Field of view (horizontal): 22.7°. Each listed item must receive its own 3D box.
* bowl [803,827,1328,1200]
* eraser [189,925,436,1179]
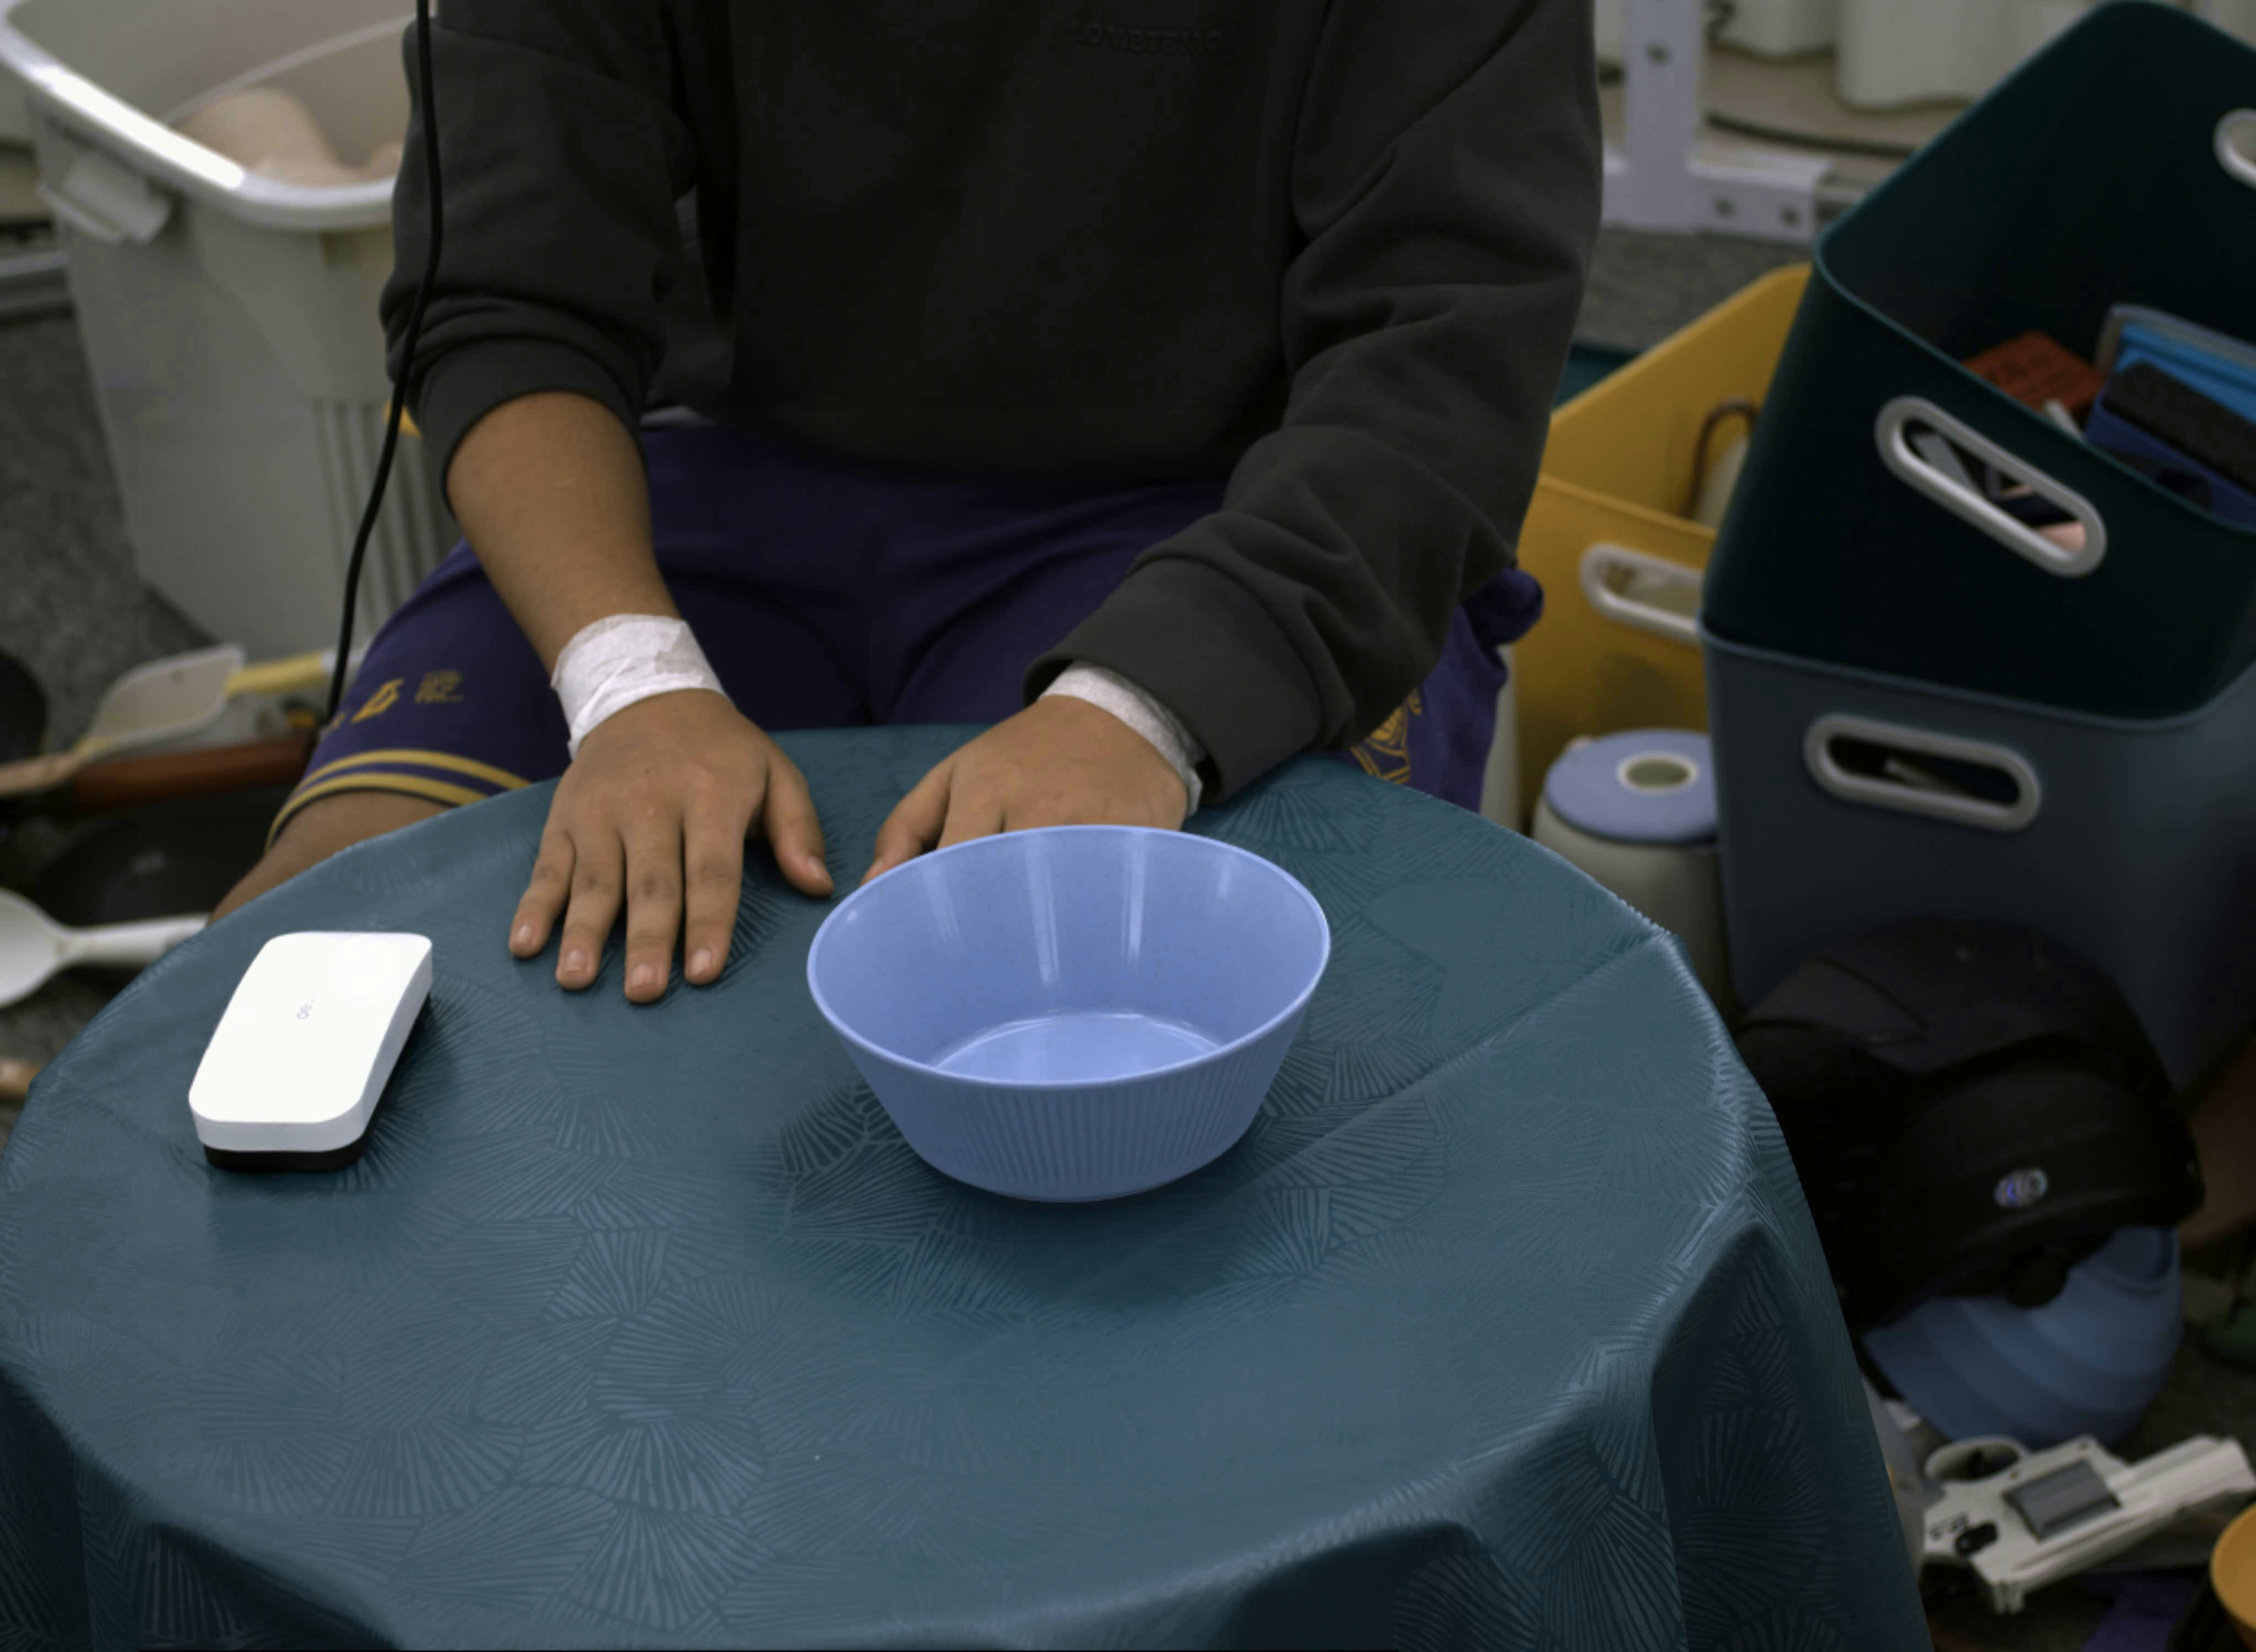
[{"bbox_3d":[-0.020,0.069,1.889,0.175,0.069,0.179,-1,28,1],"label":"bowl"},{"bbox_3d":[-0.279,0.075,1.945,0.063,0.034,0.133,3,30,8],"label":"eraser"}]
